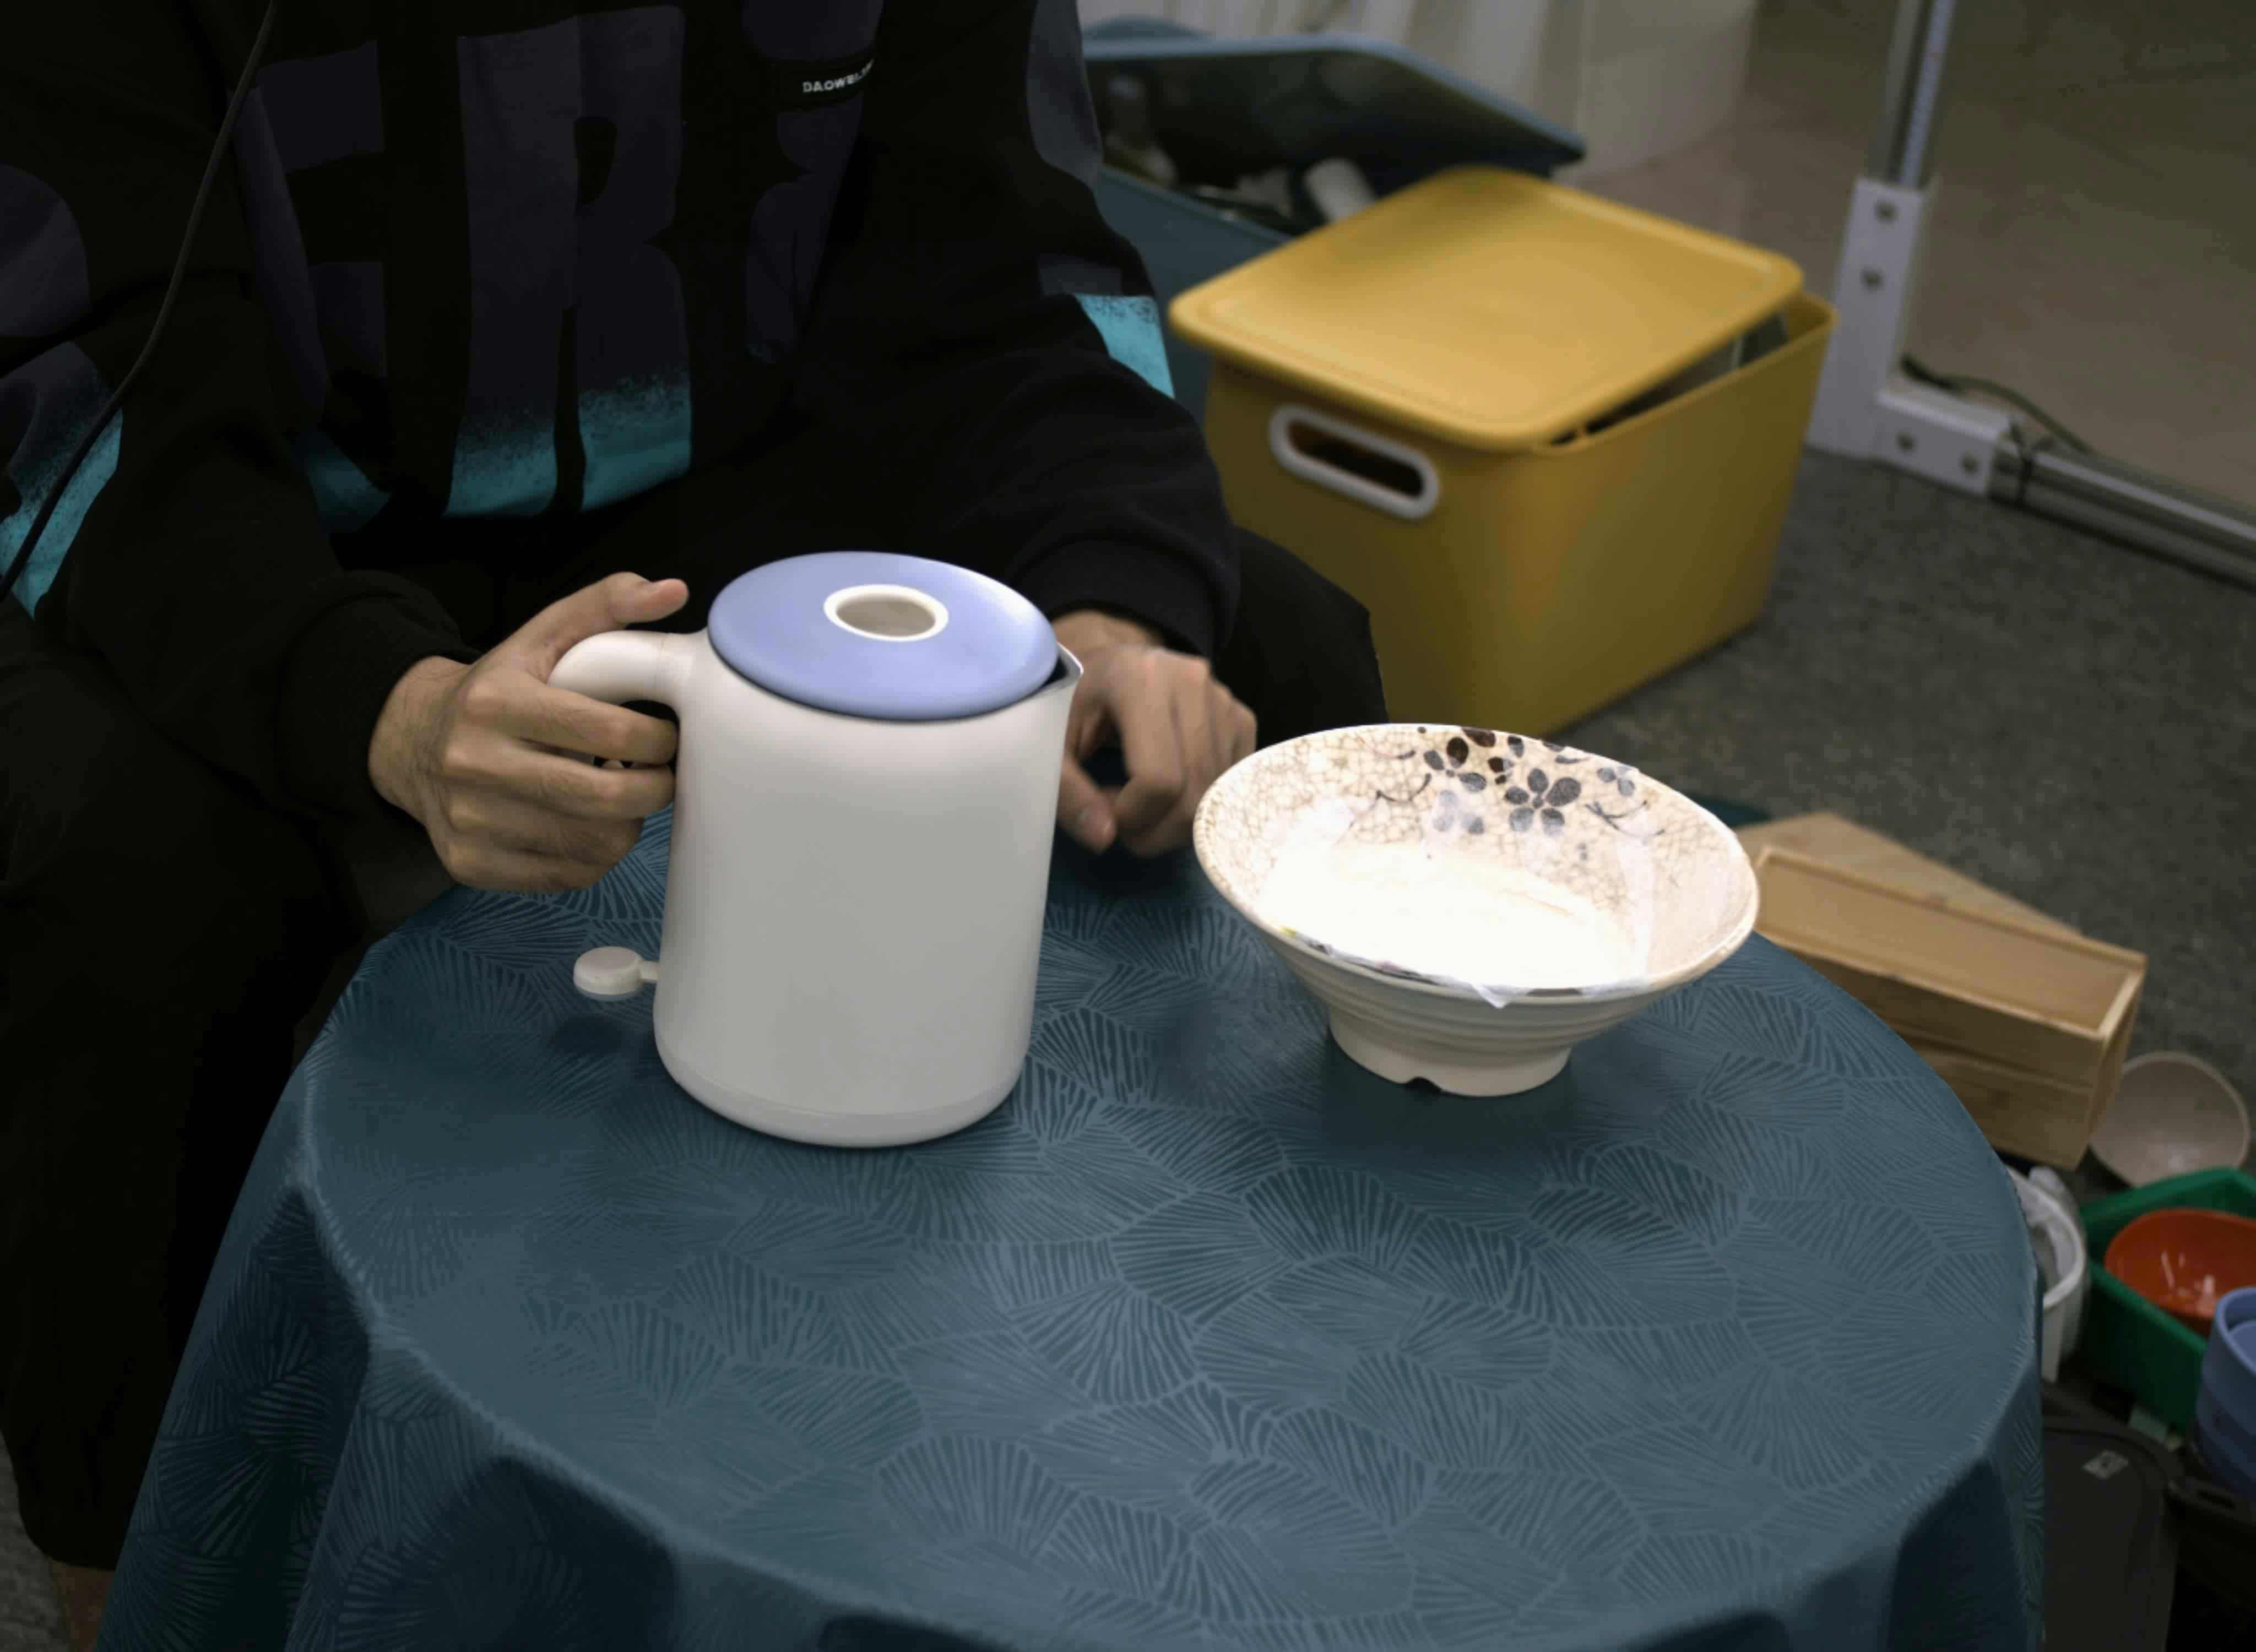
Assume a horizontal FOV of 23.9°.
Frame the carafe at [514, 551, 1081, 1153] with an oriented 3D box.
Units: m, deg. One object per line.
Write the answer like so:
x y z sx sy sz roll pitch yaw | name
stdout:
-0.115 0.006 1.819 0.191 0.182 0.133 6 25 4 | carafe

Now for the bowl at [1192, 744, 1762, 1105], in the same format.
0.120 0.046 1.897 0.203 0.078 0.205 5 24 -2 | bowl
